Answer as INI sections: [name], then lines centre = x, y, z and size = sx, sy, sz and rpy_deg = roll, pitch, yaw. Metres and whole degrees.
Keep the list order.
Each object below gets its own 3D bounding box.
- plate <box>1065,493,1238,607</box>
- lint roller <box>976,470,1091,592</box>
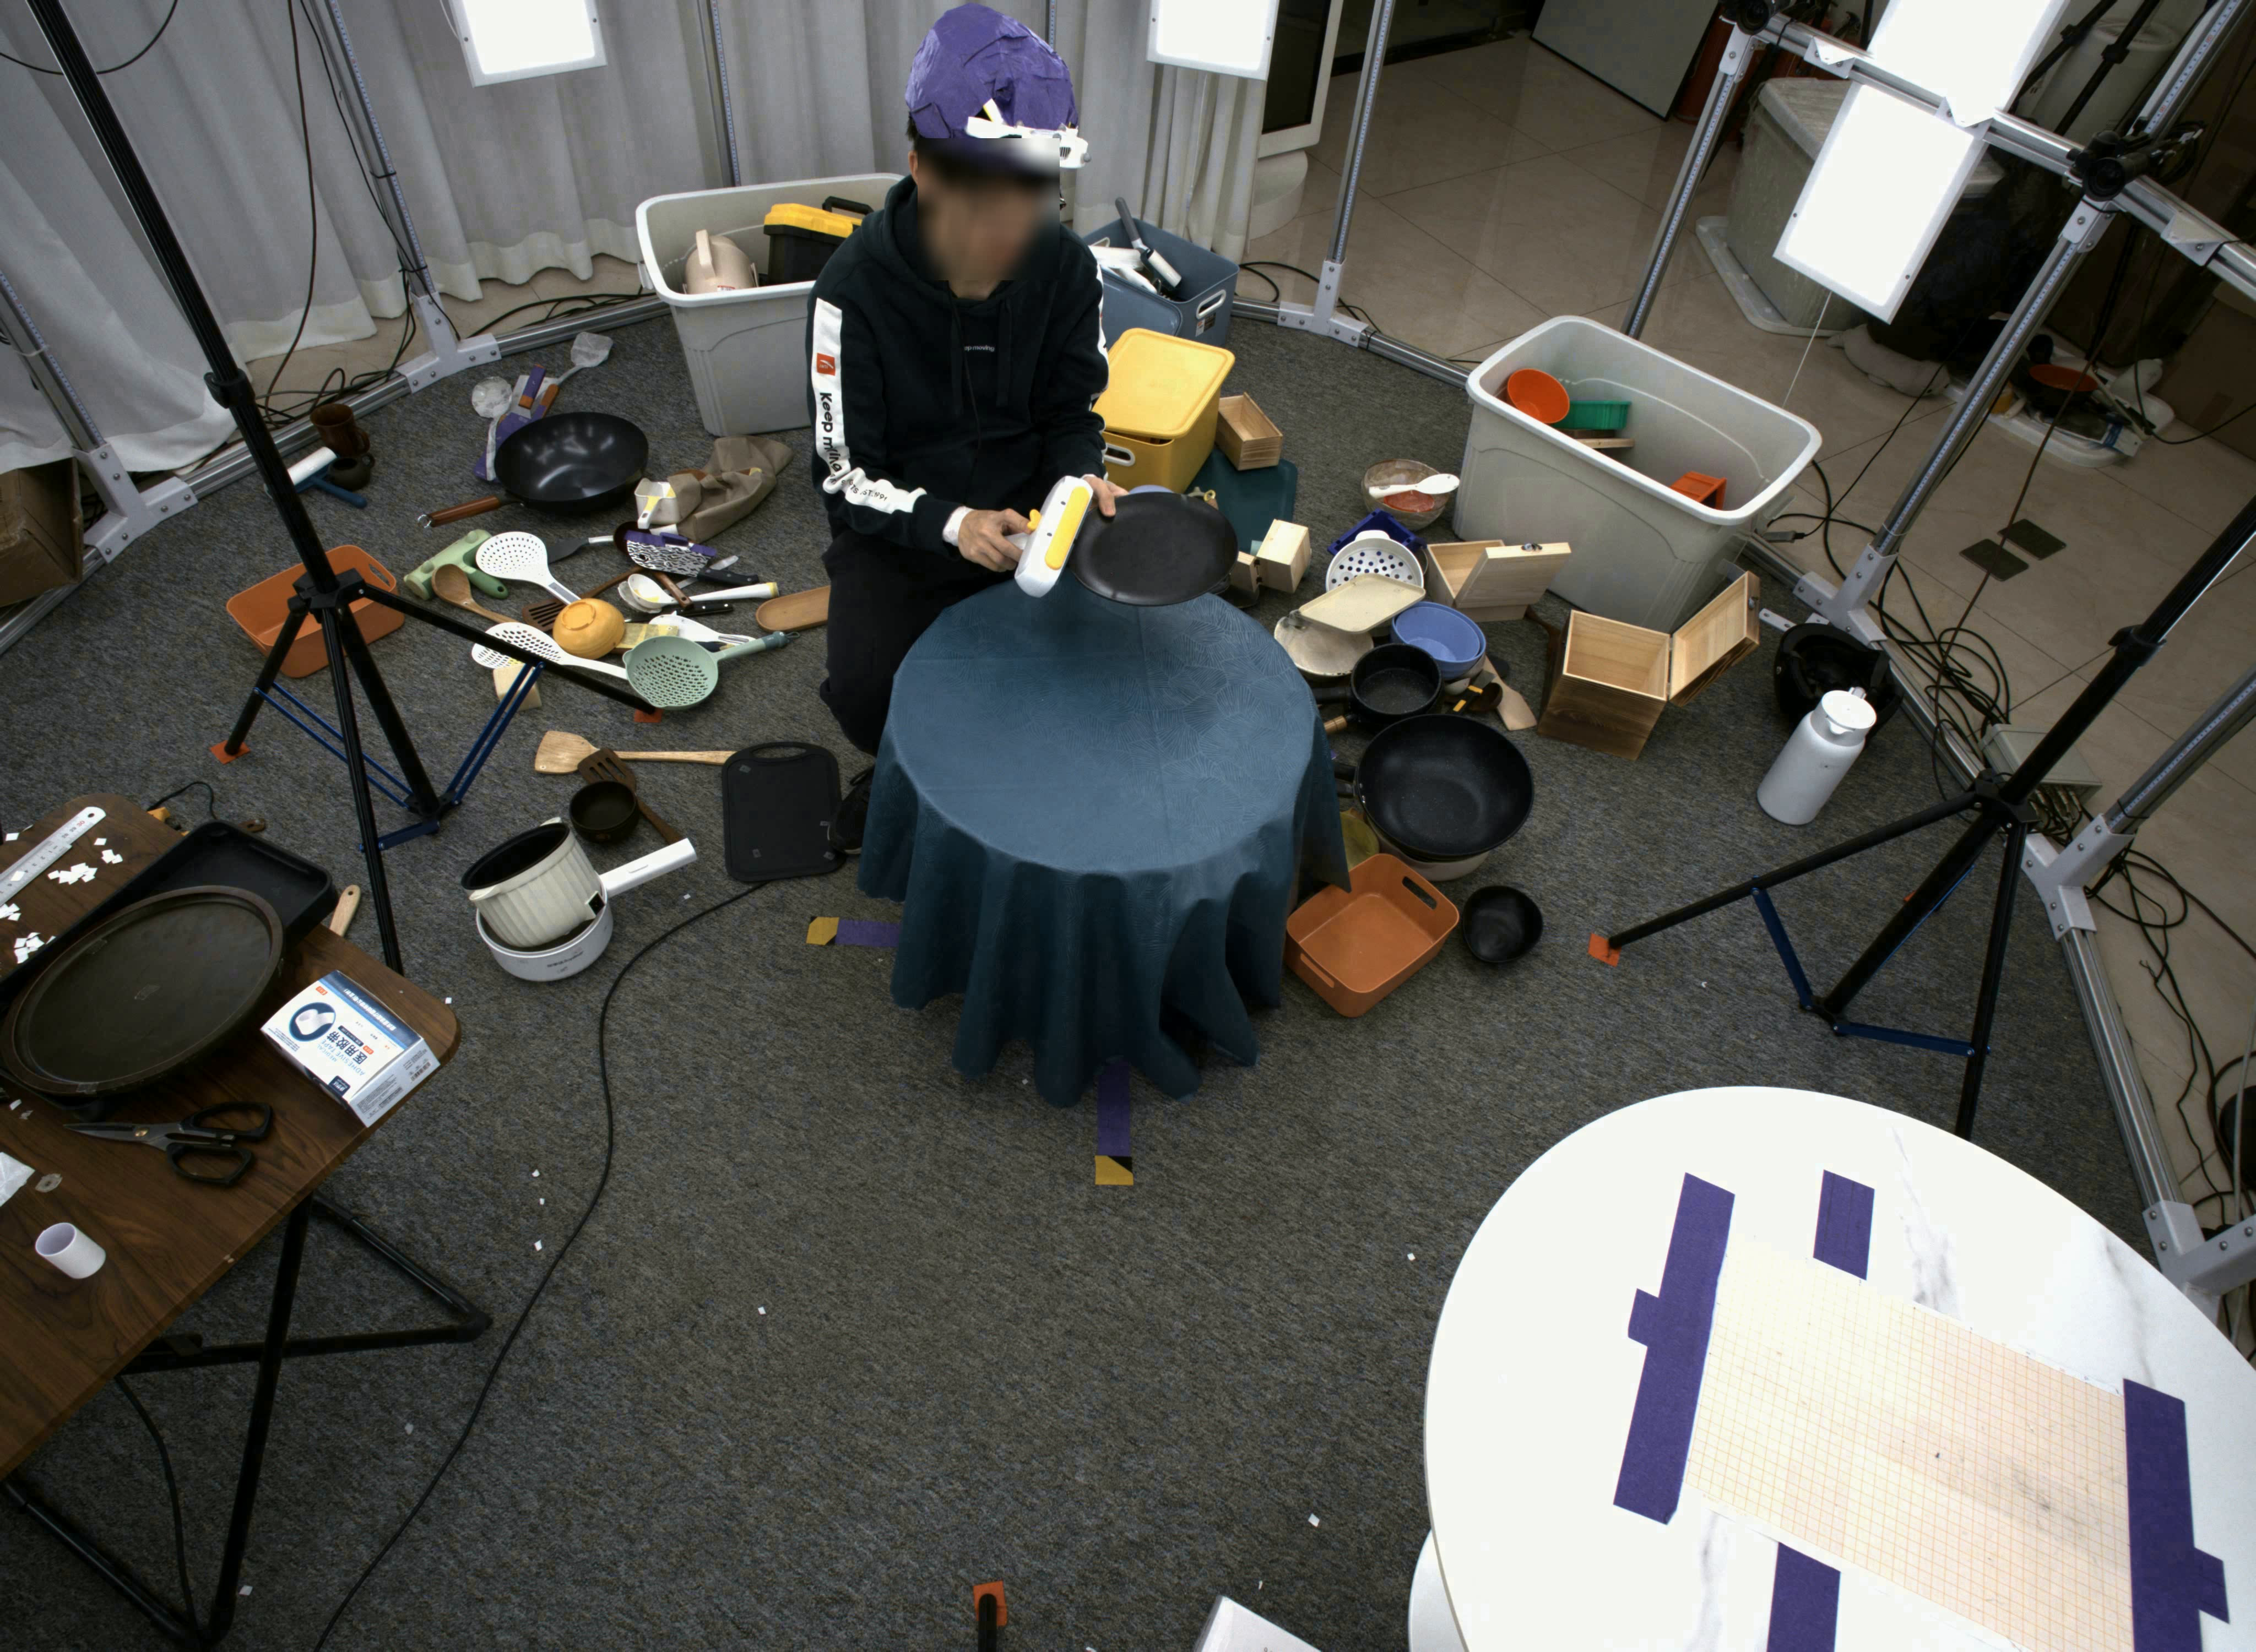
[plate]
centre = 0.033, -0.385, 1.812
size = 0.244, 0.023, 0.250
rpy_deg = -2, 50, 2
[lint roller]
centre = -0.142, -0.404, 1.845
size = 0.073, 0.191, 0.196
rpy_deg = 29, 60, -30
